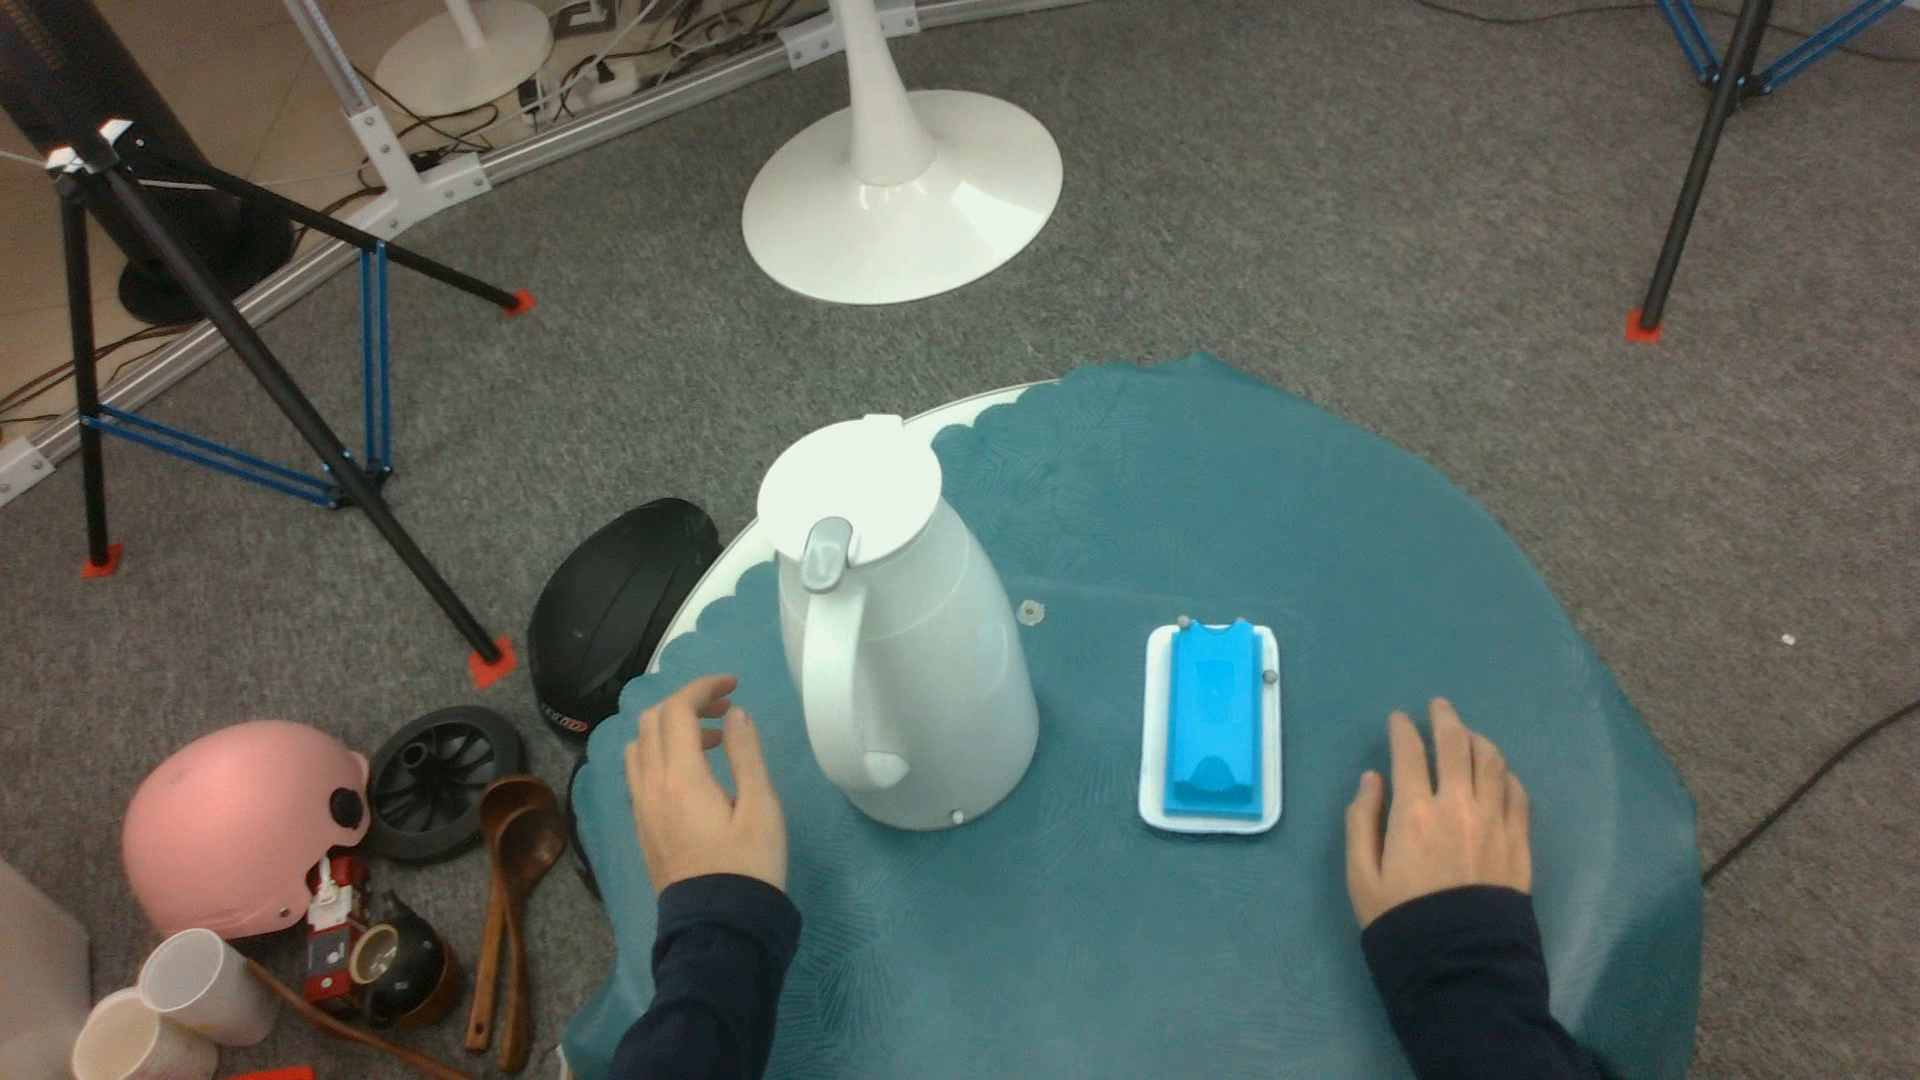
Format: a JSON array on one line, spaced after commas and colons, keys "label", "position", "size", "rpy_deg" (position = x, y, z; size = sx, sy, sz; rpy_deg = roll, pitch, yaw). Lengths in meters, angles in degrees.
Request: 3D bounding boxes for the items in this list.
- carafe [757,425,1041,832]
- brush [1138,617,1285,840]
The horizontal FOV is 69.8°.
[{"label": "carafe", "position": [-0.037, 0.065, 0.757], "size": [0.132, 0.247, 0.168], "rpy_deg": [0, 54, 12]}, {"label": "brush", "position": [0.148, 0.103, 0.807], "size": [0.084, 0.056, 0.144], "rpy_deg": [-1, 50, 16]}]
